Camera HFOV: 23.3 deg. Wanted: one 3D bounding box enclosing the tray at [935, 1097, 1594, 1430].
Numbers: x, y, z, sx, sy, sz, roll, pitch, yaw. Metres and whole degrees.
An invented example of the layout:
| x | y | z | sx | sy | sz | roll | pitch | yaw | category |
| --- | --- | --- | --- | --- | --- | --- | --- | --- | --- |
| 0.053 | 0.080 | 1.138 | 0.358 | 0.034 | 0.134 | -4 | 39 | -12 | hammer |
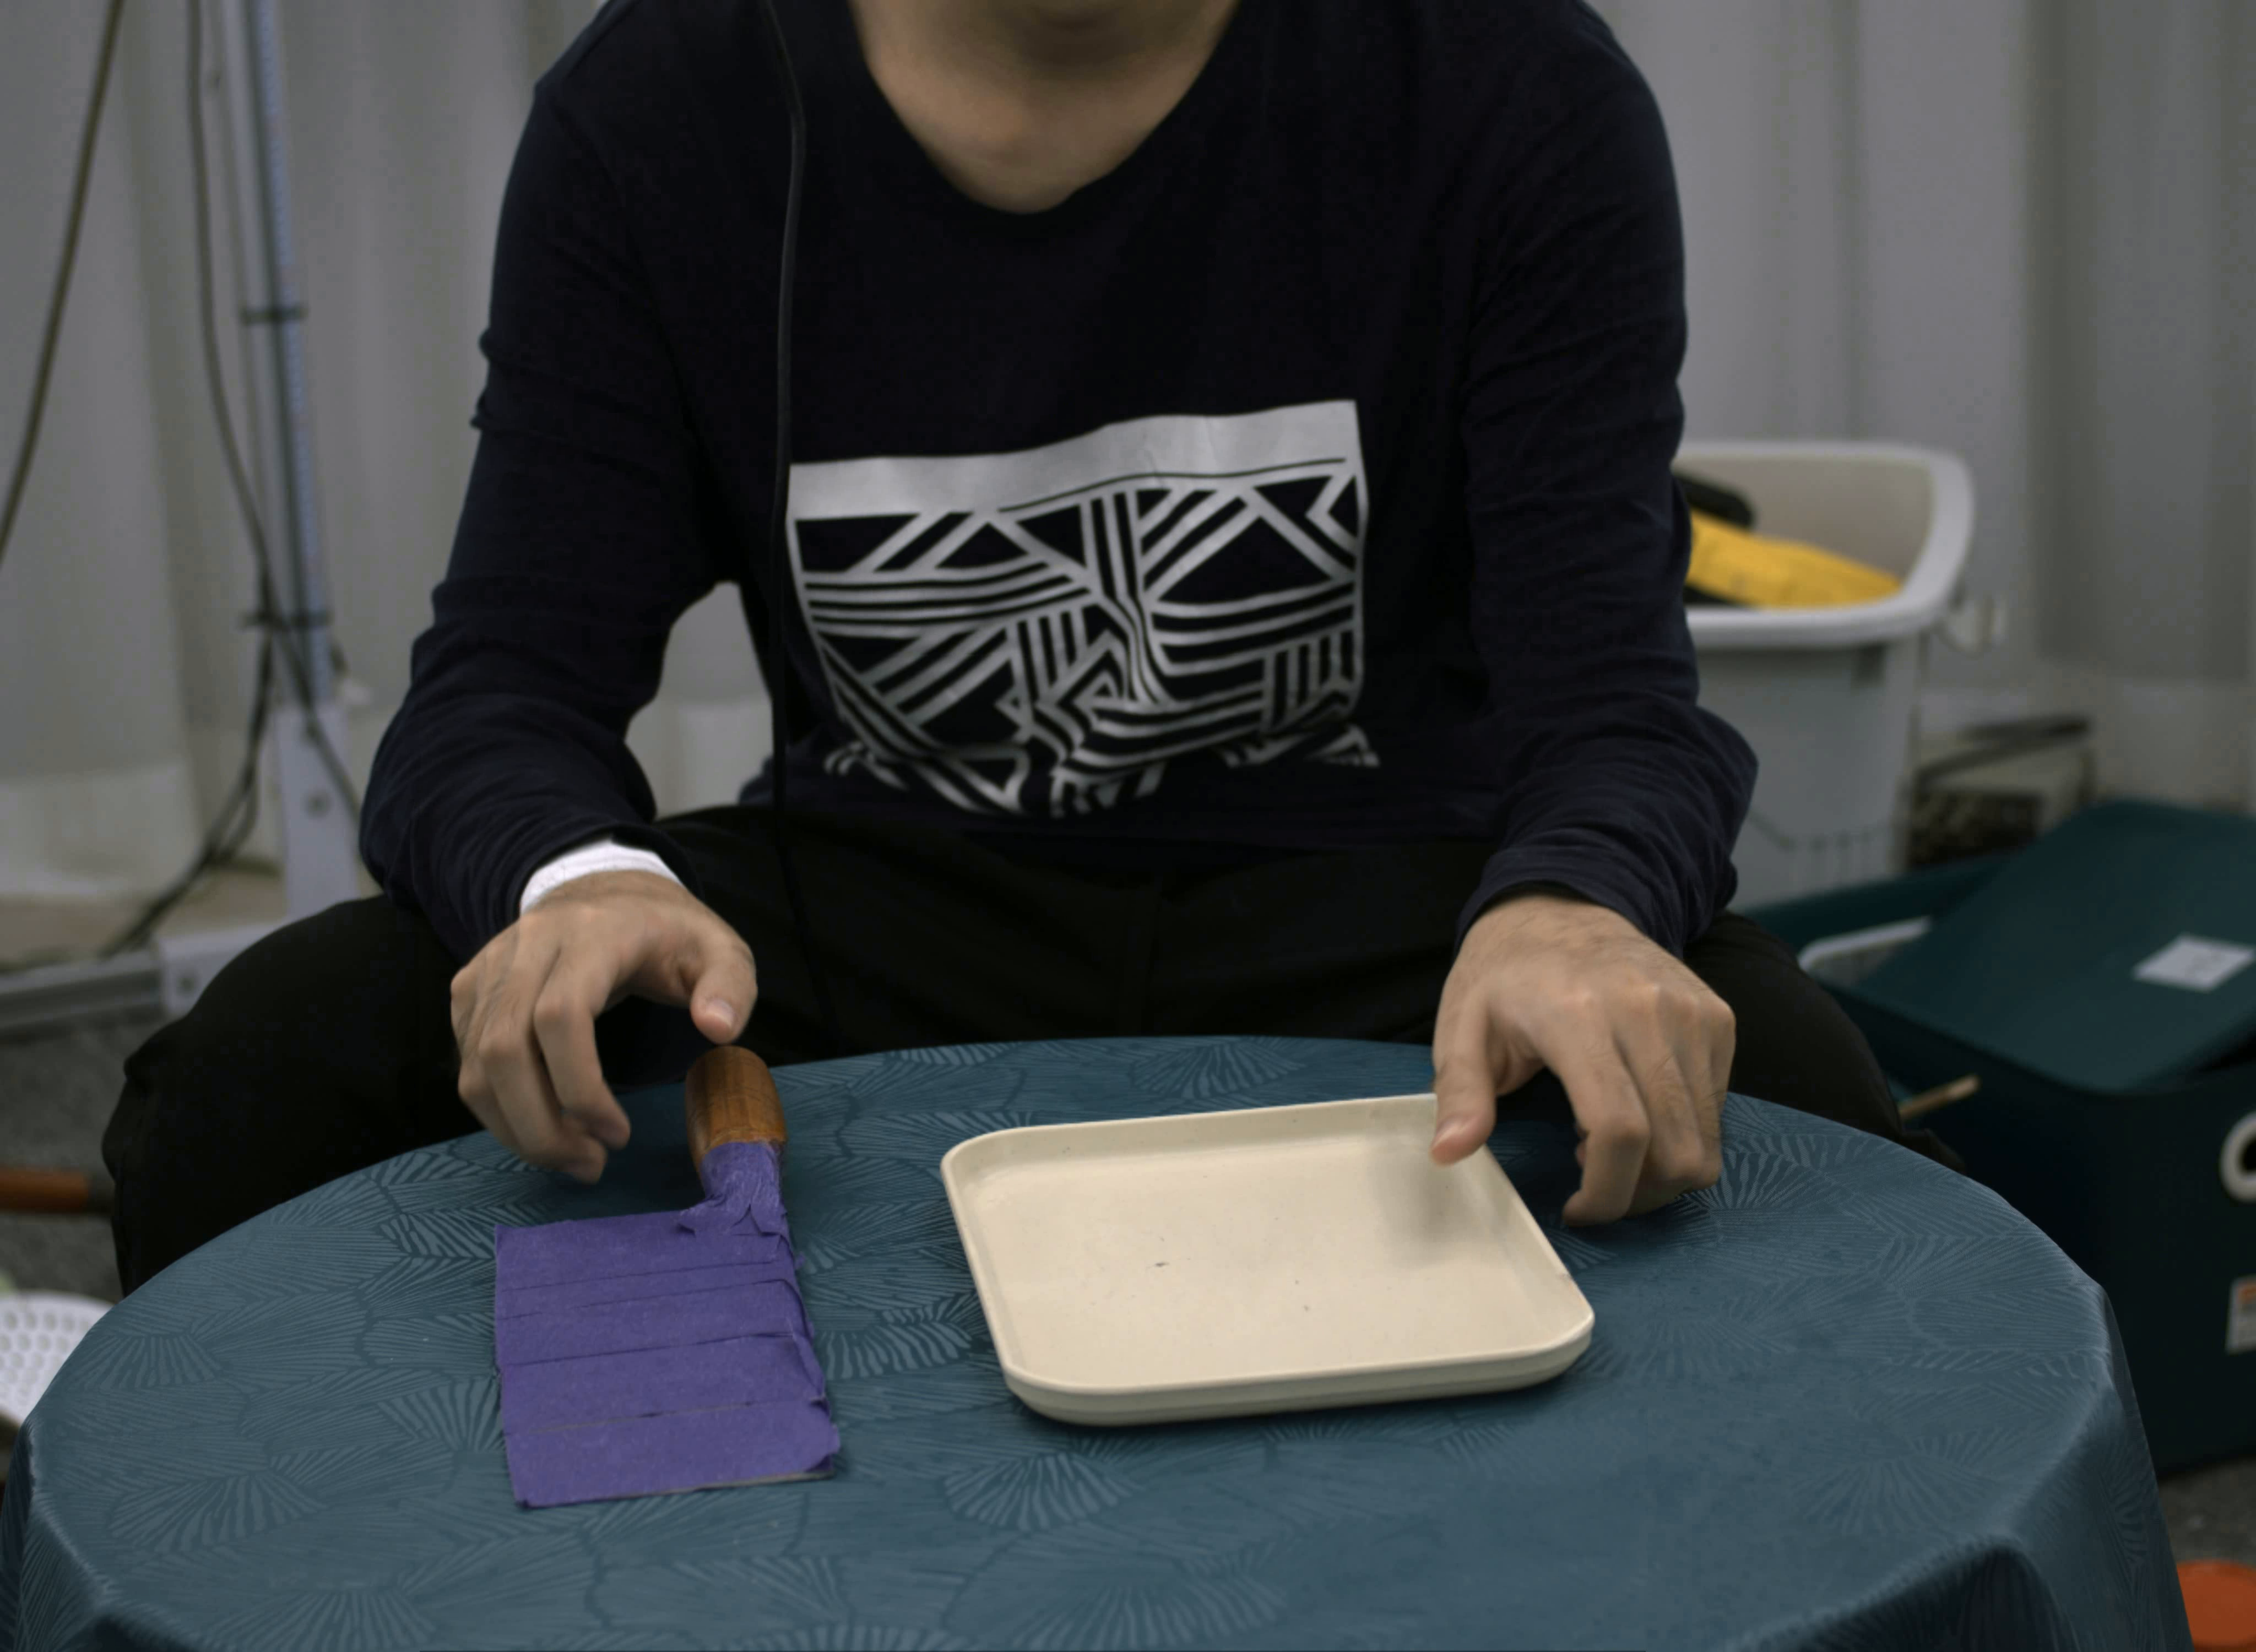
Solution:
| x | y | z | sx | sy | sz | roll | pitch | yaw | category |
| --- | --- | --- | --- | --- | --- | --- | --- | --- | --- |
| 0.036 | 0.129 | 1.624 | 0.170 | 0.017 | 0.241 | -5 | 15 | -6 | tray |

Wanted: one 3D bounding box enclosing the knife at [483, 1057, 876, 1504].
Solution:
| x | y | z | sx | sy | sz | roll | pitch | yaw | category |
| --- | --- | --- | --- | --- | --- | --- | --- | --- | --- |
| -0.142 | 0.131 | 1.630 | 0.103 | 0.032 | 0.318 | -4 | 15 | -7 | knife |
